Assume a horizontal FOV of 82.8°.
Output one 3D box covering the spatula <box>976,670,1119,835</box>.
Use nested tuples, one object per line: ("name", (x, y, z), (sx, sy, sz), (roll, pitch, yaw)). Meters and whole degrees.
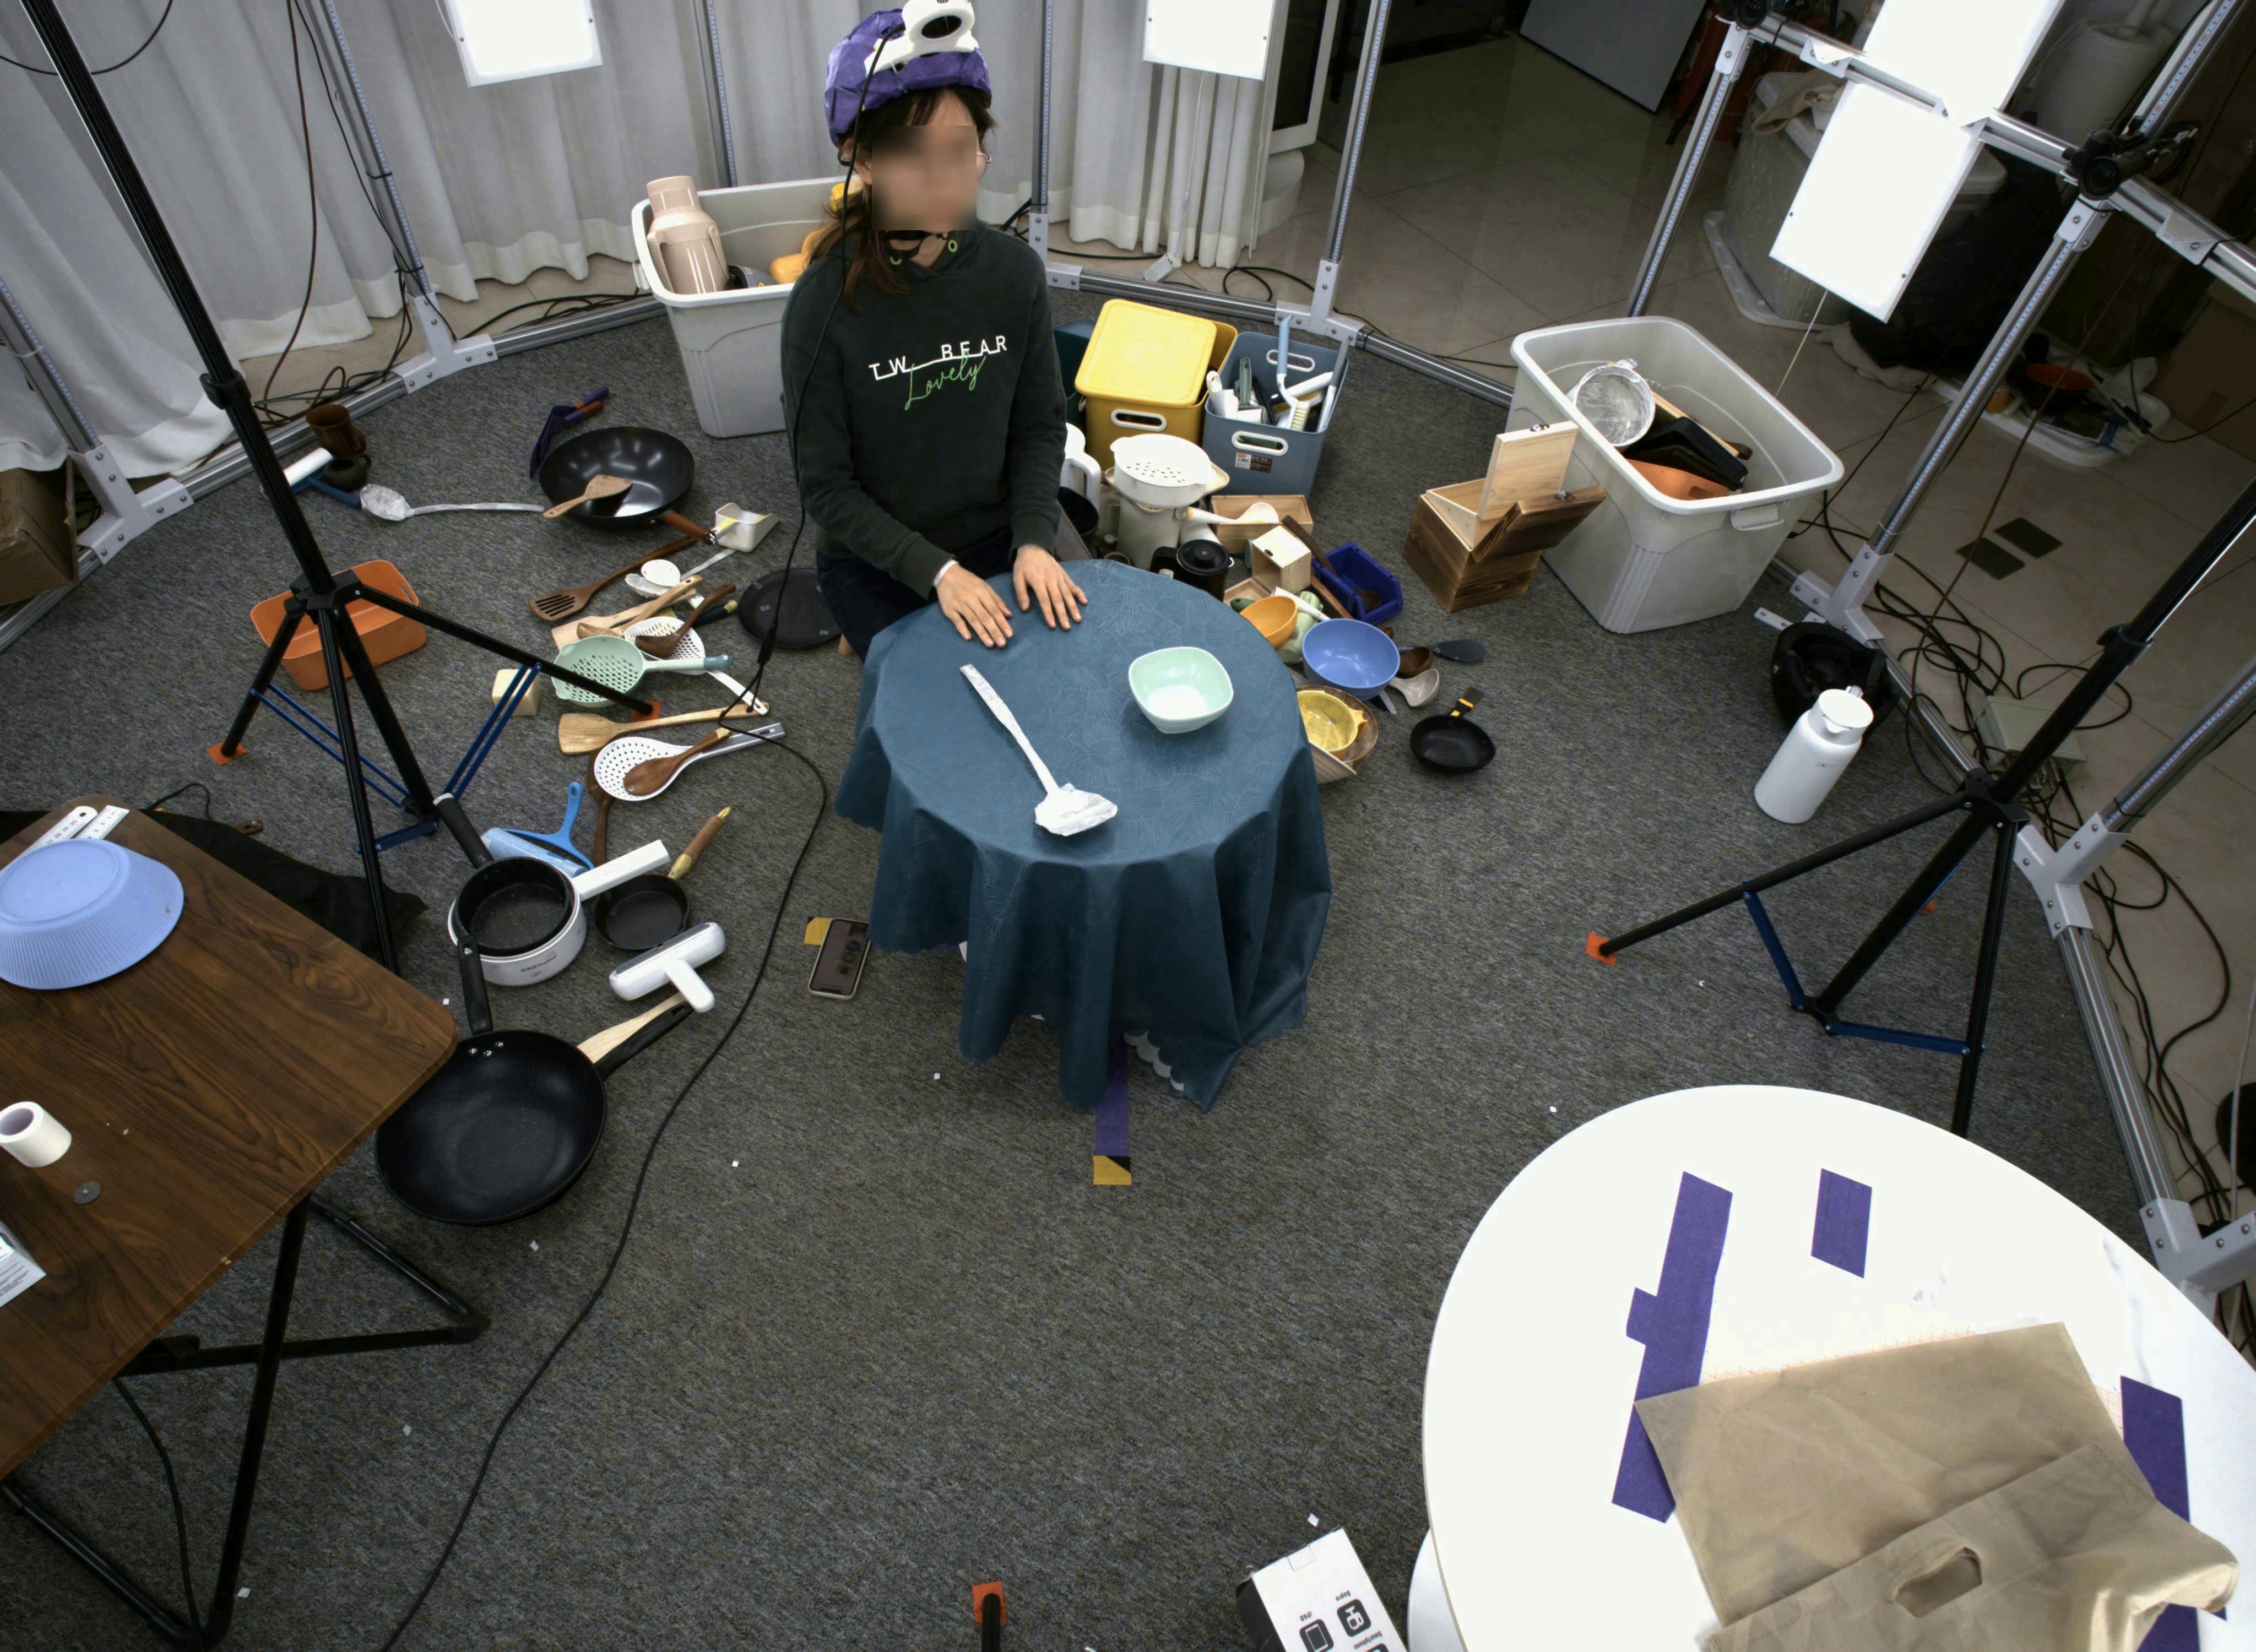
("spatula", (-0.133, -0.111, 1.746), (0.099, 0.043, 0.373), (-21, 54, -19))

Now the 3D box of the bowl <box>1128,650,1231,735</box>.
("bowl", (0.070, -0.180, 1.811), (0.151, 0.057, 0.155), (3, 49, -4))
